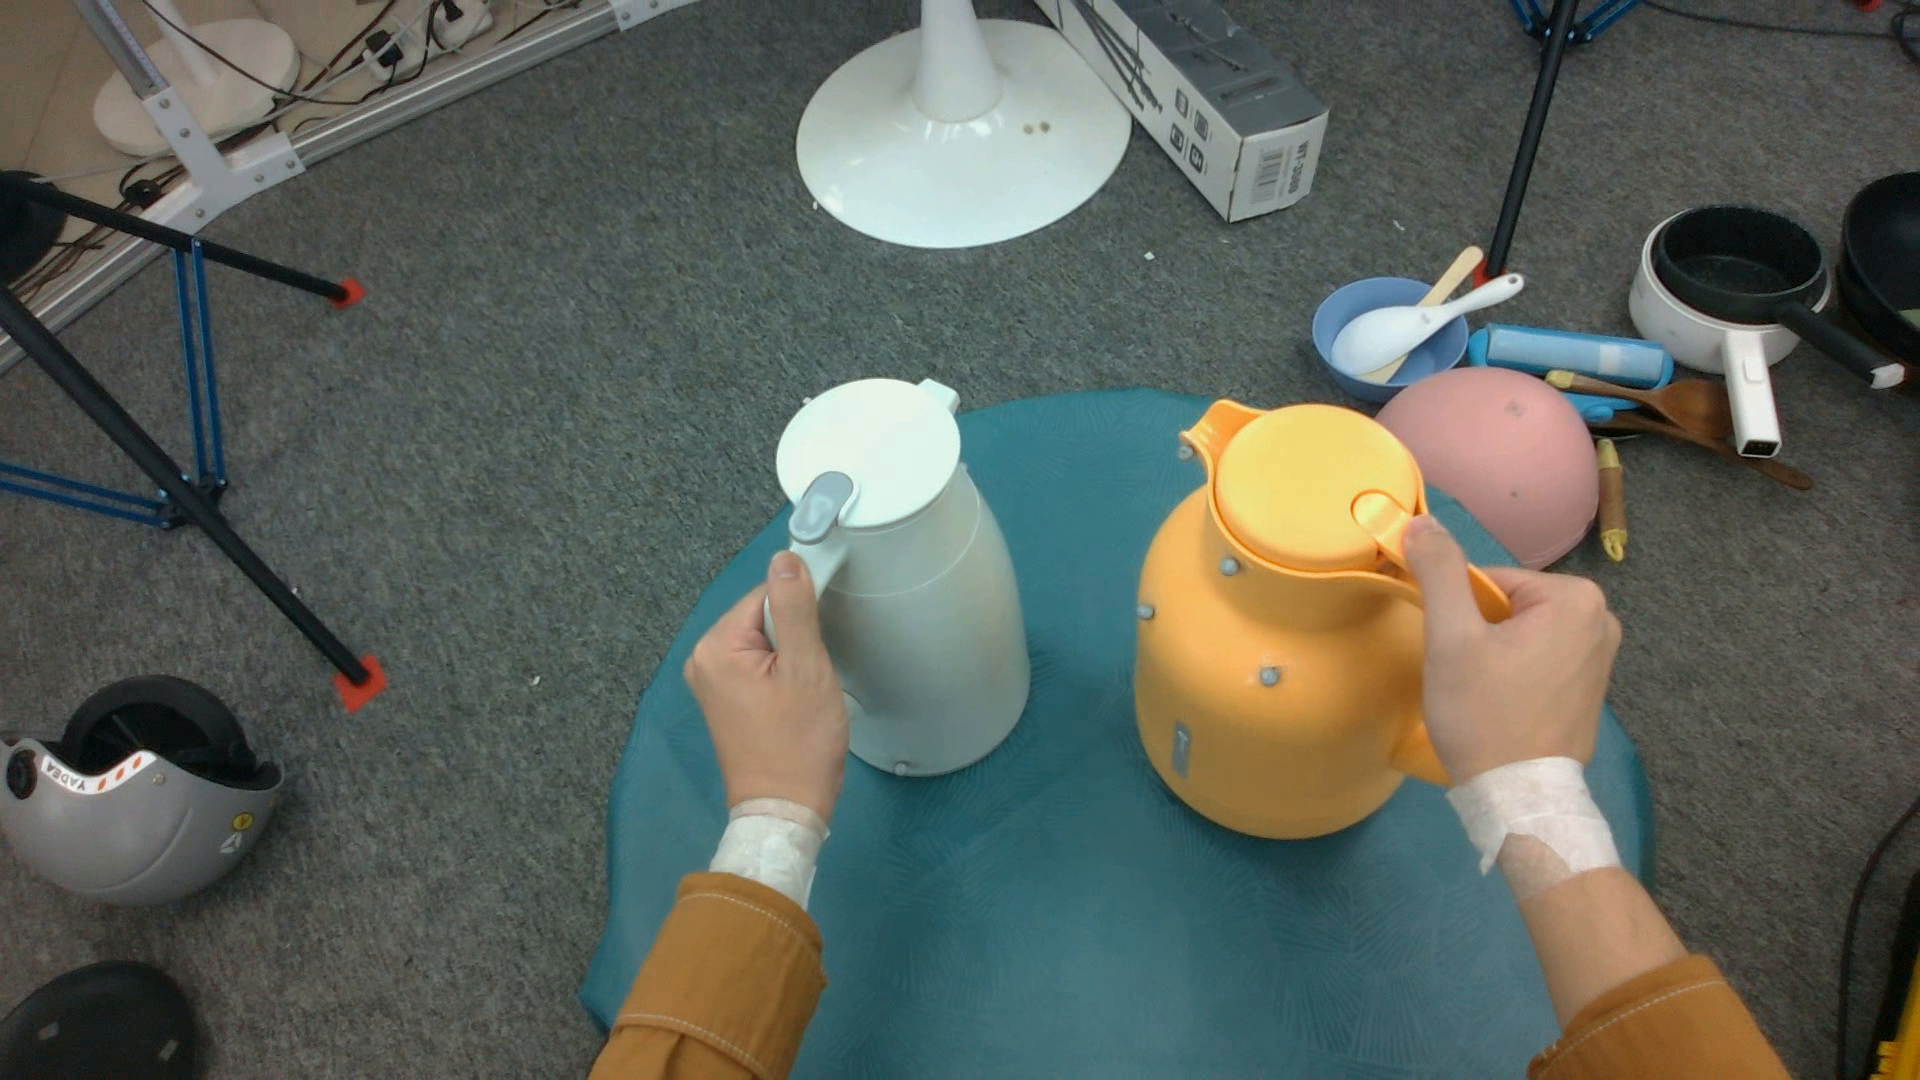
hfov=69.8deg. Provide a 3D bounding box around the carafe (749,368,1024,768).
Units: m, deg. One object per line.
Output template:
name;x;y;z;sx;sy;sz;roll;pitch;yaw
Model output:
carafe;-0.047;0.030;0.759;0.132;0.247;0.168;25;63;22

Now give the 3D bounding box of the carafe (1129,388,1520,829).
carafe;0.182;0.047;0.714;0.164;0.259;0.202;-39;59;-17
